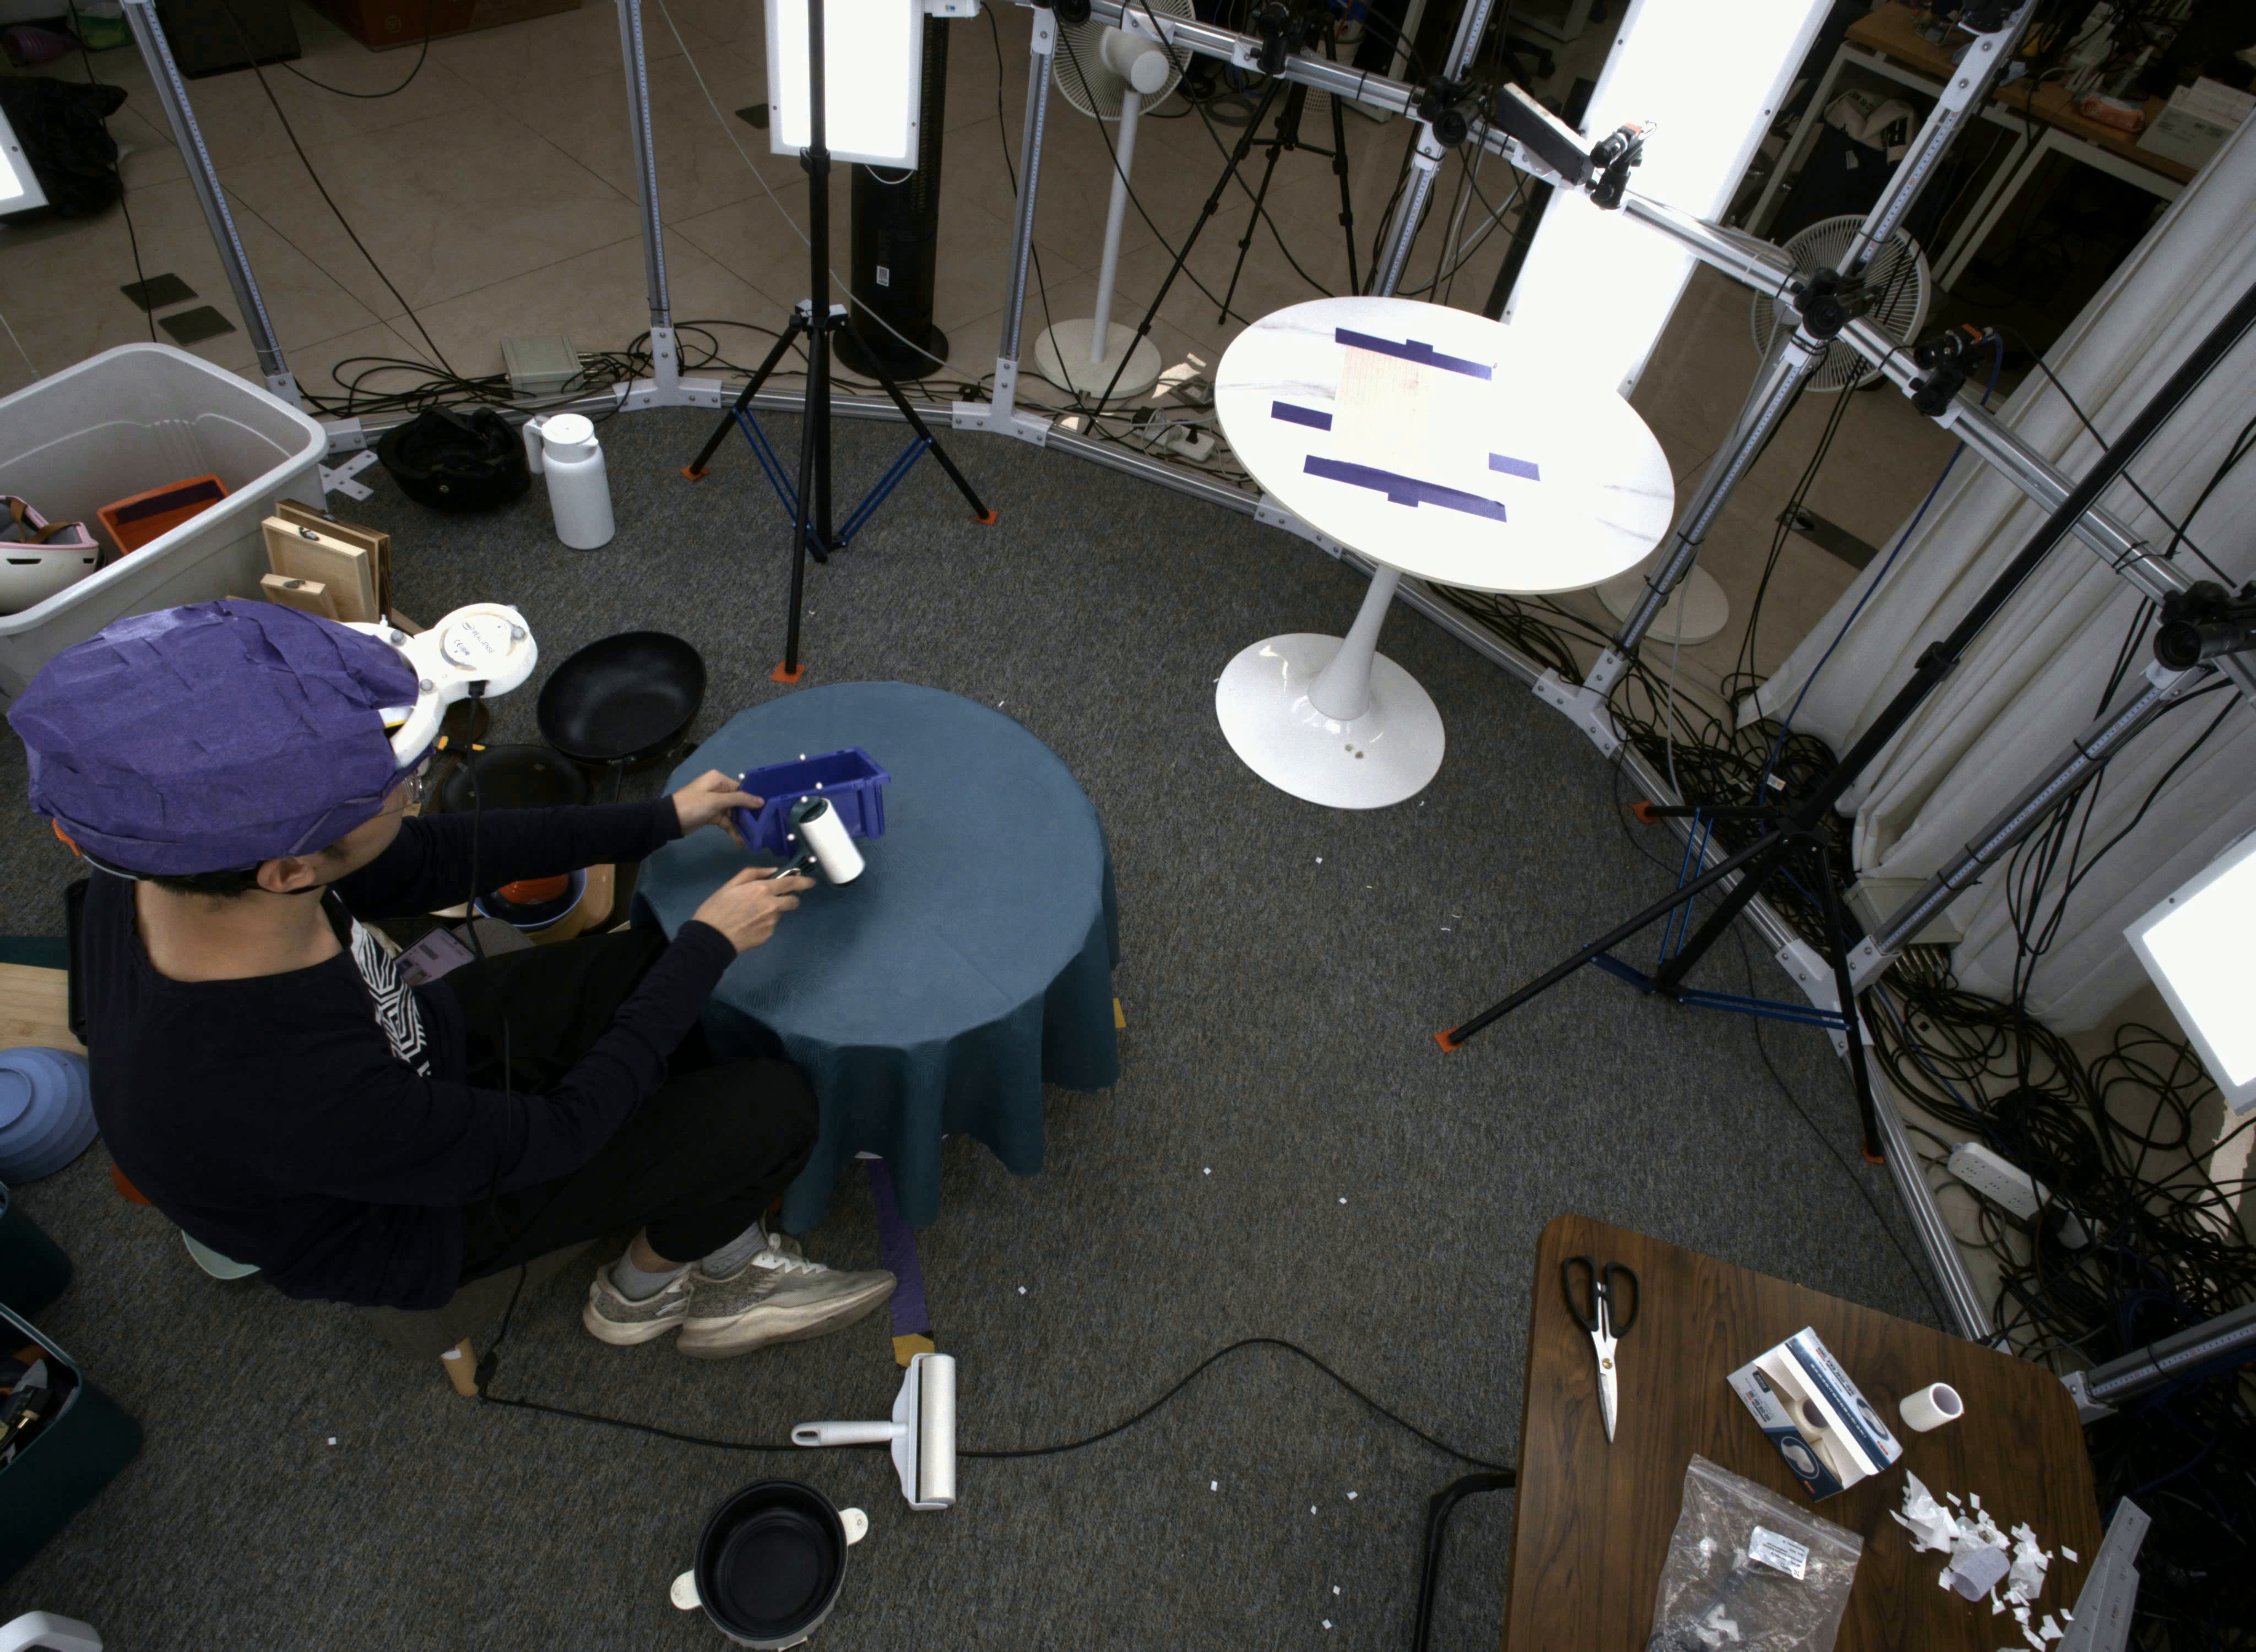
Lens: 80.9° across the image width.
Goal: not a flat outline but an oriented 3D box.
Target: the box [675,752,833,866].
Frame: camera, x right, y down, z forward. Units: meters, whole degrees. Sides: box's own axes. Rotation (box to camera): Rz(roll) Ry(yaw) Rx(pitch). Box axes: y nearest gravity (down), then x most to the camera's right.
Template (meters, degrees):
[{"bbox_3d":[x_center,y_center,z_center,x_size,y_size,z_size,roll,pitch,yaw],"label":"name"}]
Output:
[{"bbox_3d":[-0.464,-0.020,1.601,0.181,0.084,0.120,-13,28,-27],"label":"box"}]

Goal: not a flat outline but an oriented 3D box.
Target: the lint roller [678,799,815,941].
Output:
[{"bbox_3d":[-0.456,0.070,1.527,0.046,0.139,0.179,14,52,34],"label":"lint roller"}]
